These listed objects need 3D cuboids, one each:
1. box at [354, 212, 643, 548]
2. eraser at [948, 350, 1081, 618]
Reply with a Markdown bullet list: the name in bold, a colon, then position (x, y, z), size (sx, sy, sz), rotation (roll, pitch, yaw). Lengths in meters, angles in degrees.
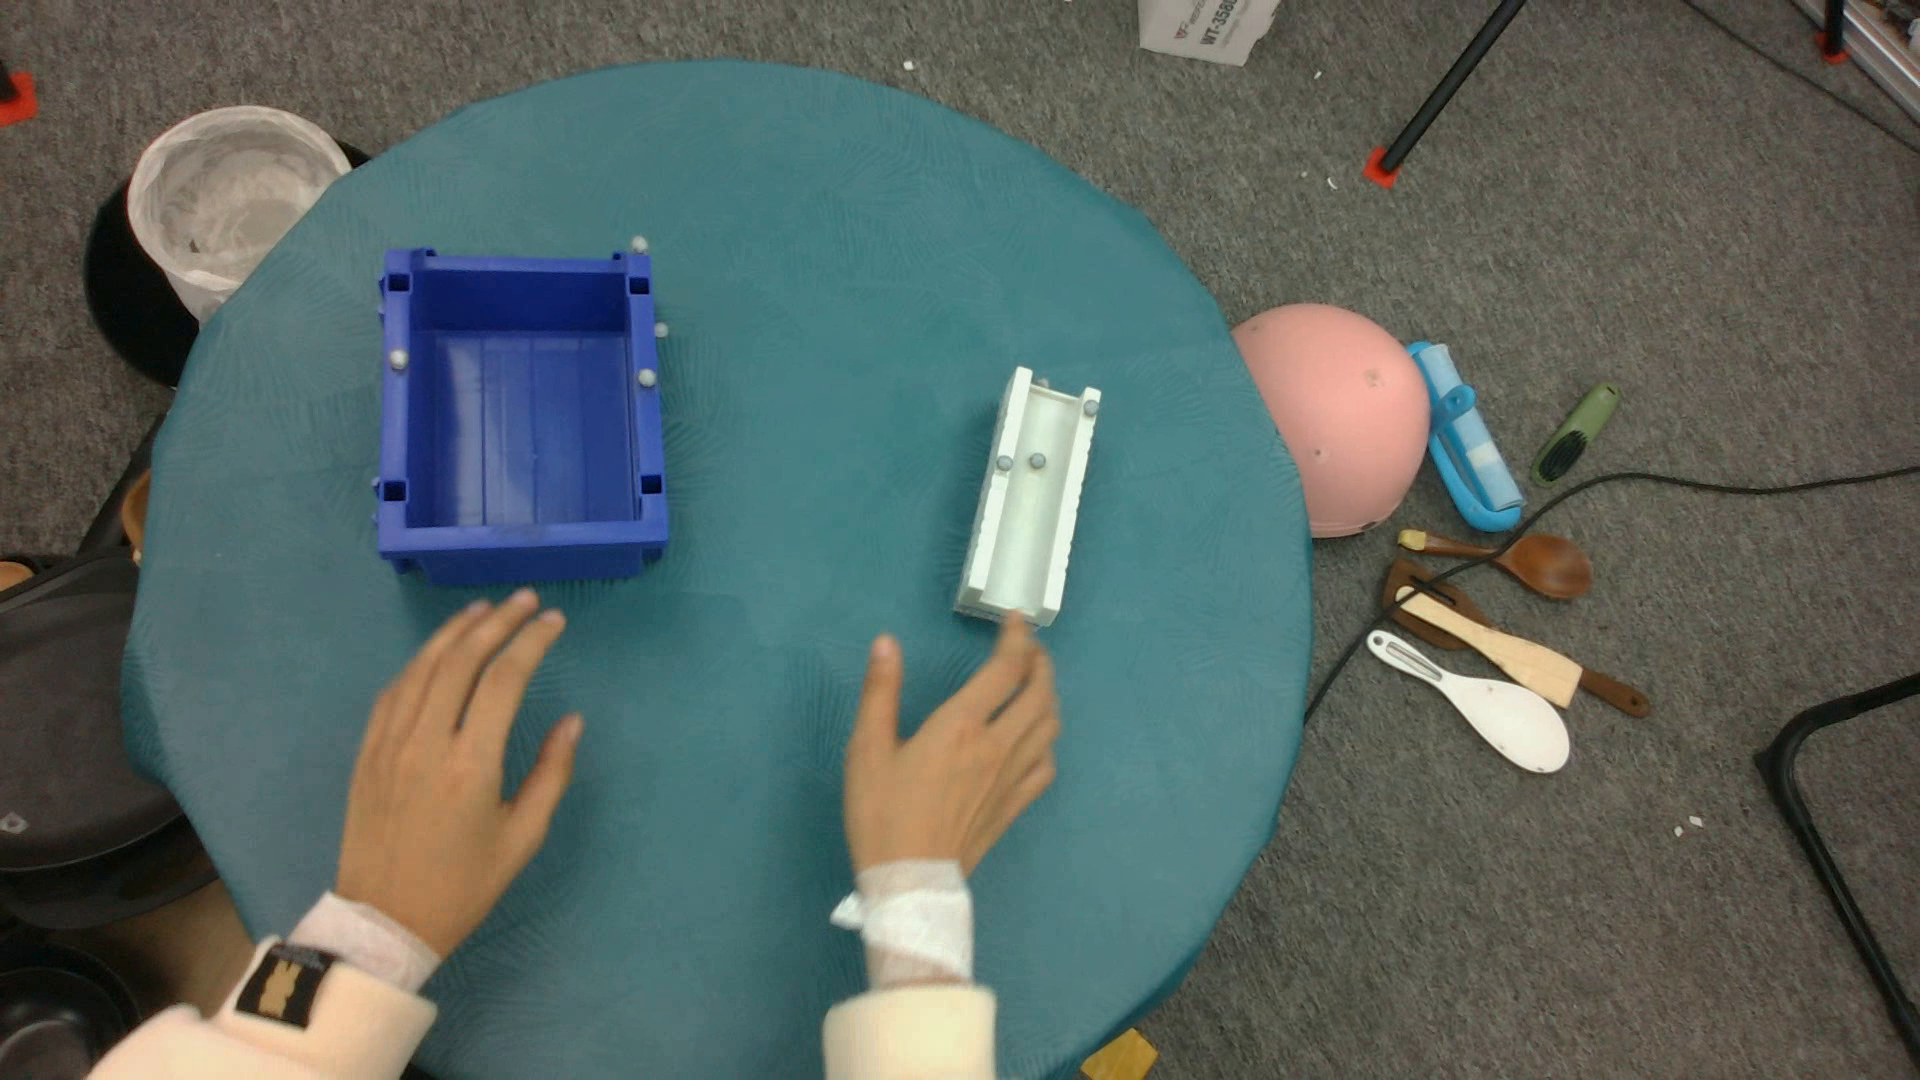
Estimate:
- **box**: position (-0.221, -0.083, 0.670), size (0.124, 0.081, 0.180), rotation (-1, 71, -15)
- **eraser**: position (0.028, -0.030, 0.731), size (0.050, 0.046, 0.135), rotation (15, 64, -10)
